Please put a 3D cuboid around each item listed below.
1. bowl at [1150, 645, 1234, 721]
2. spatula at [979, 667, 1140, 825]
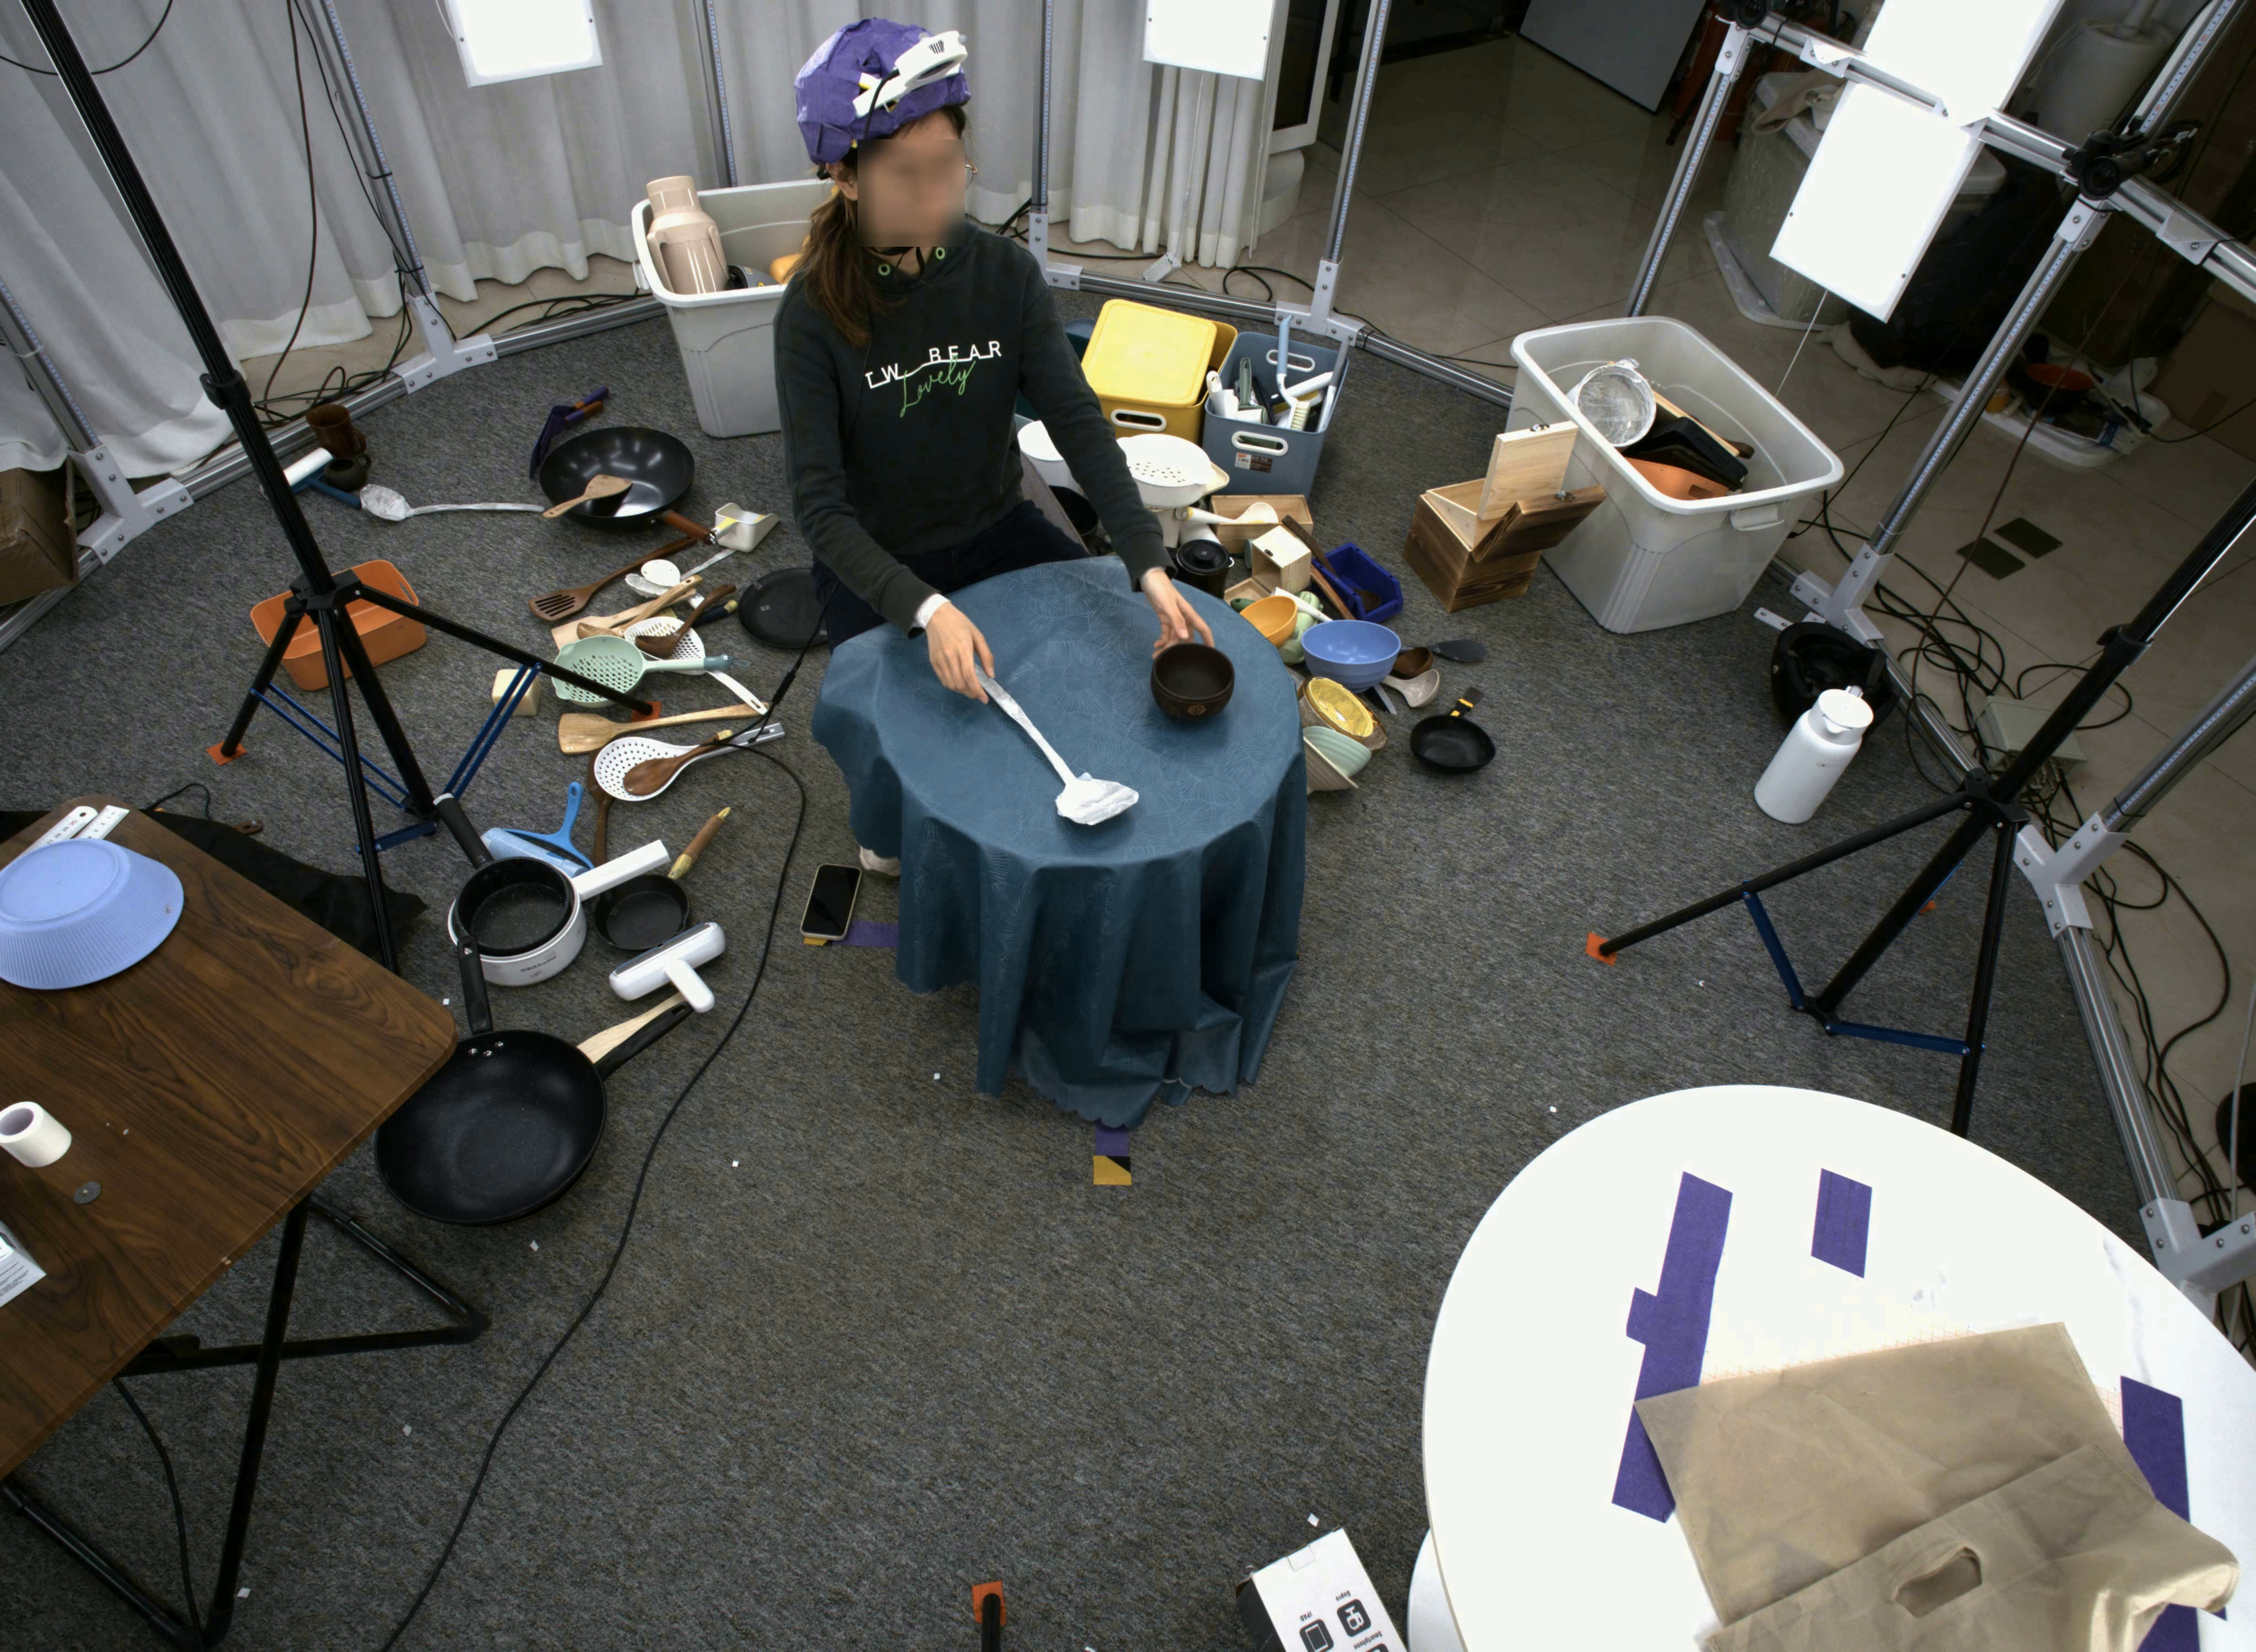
[{"bbox_3d":[0.089,-0.194,1.813,0.118,0.068,0.121,1,47,-2],"label":"bowl"},{"bbox_3d":[-0.116,-0.121,1.757,0.099,0.043,0.372,-26,55,-22],"label":"spatula"}]
